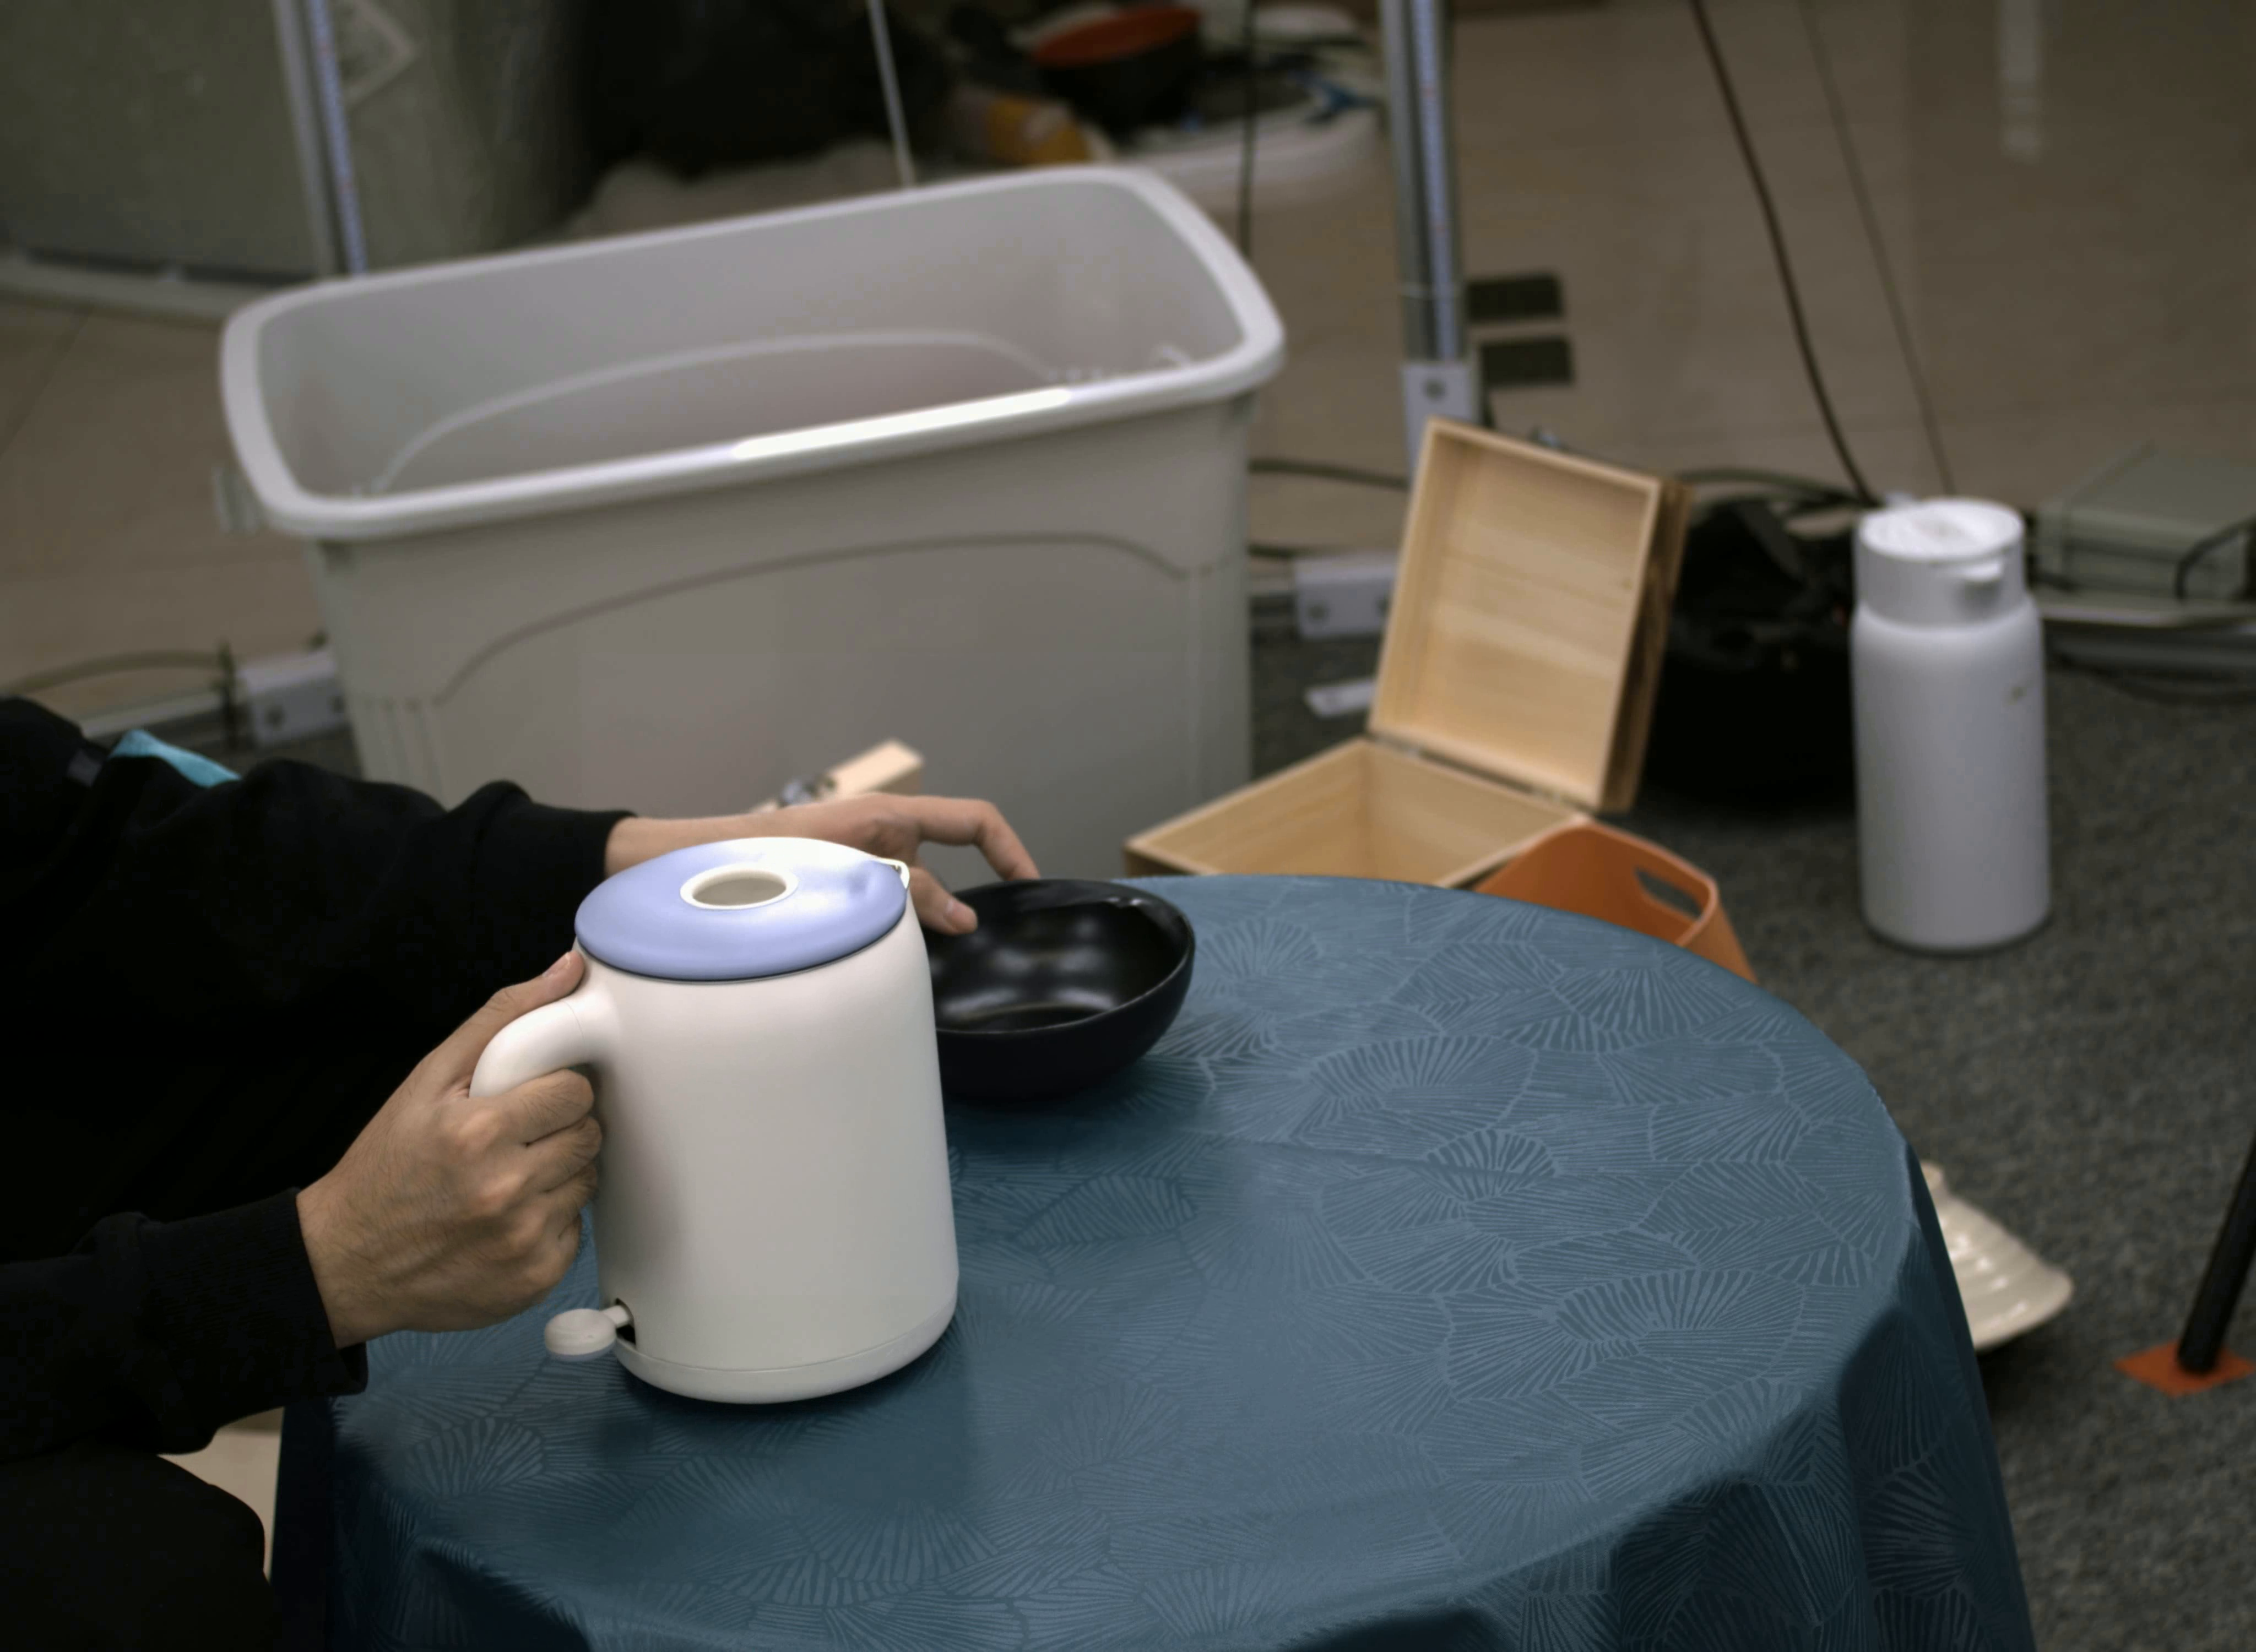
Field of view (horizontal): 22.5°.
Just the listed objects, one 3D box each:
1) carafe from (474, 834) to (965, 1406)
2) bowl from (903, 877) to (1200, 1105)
[{"bbox_3d":[-0.151,0.112,2.025,0.190,0.185,0.131,-22,28,-30],"label":"carafe"},{"bbox_3d":[-0.039,0.072,2.240,0.140,0.050,0.138,-7,26,3],"label":"bowl"}]
